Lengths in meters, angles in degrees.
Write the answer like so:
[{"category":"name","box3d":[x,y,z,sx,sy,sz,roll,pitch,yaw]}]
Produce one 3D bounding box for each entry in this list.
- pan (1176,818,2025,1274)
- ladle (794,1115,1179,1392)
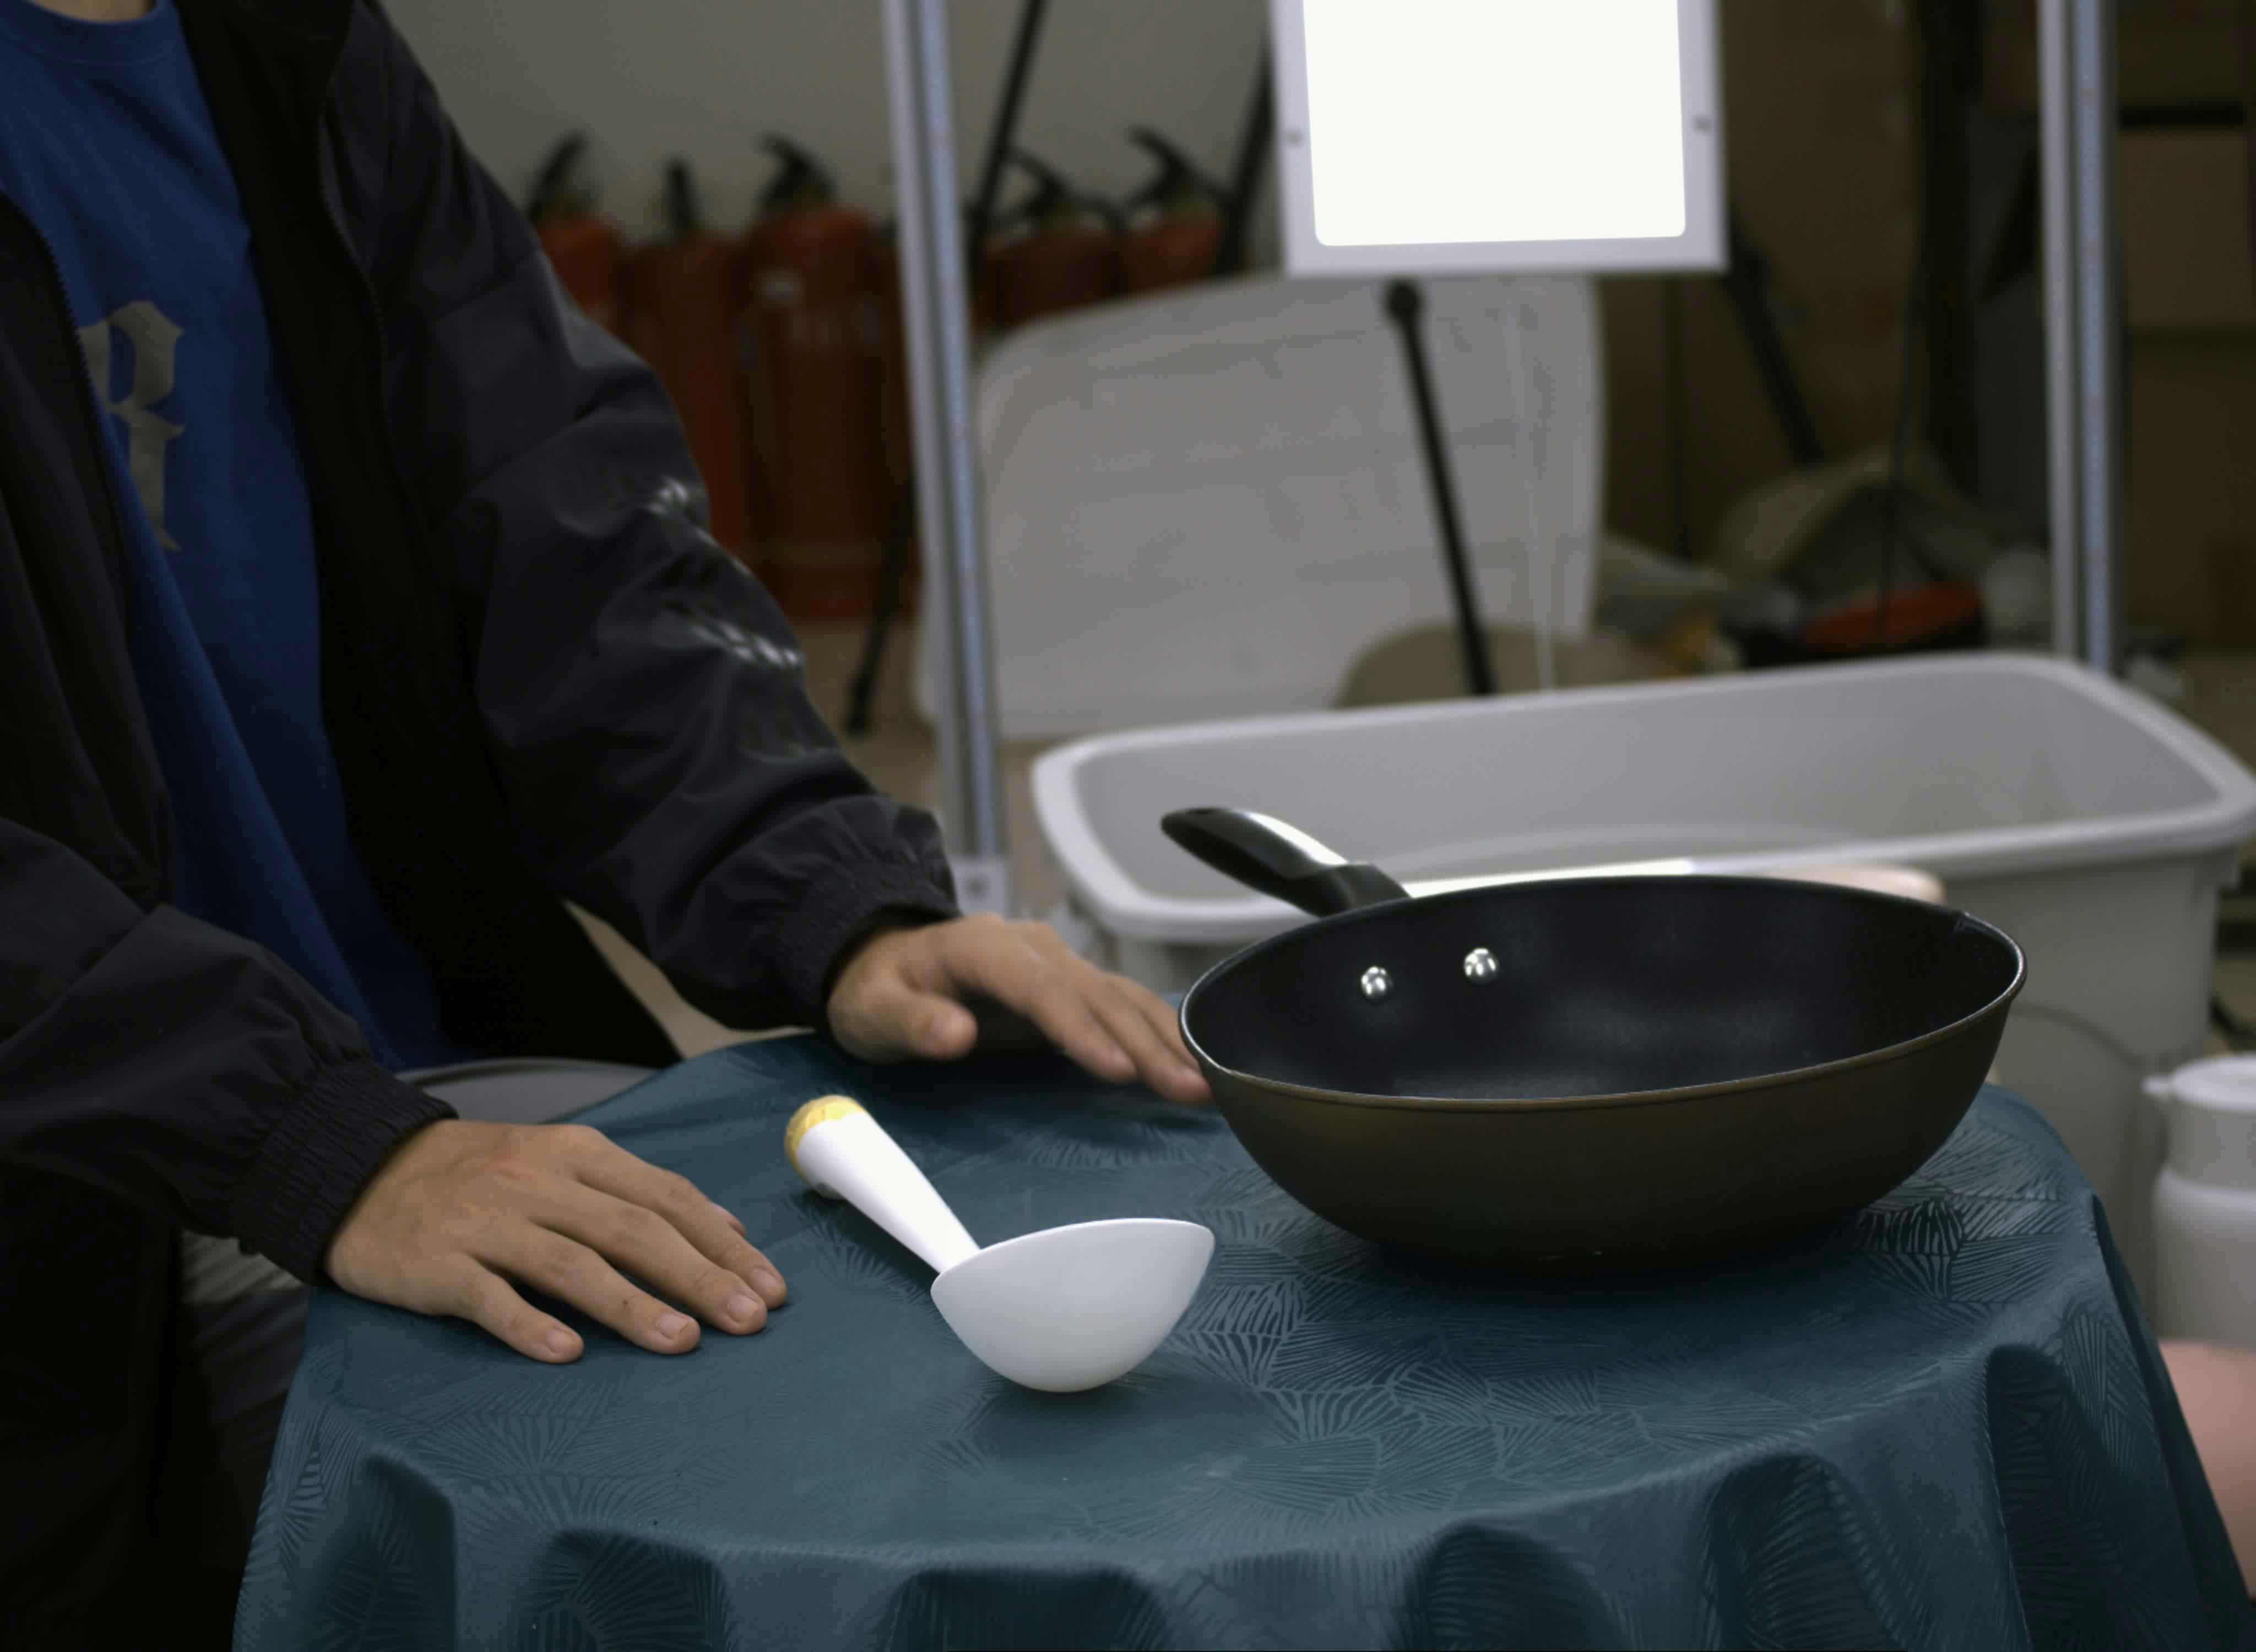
[{"category":"pan","box3d":[0.122,0.072,1.903,0.283,0.087,0.470,-10,13,-22]},{"category":"ladle","box3d":[-0.060,0.124,1.796,0.089,0.070,0.296,-11,13,-15]}]
